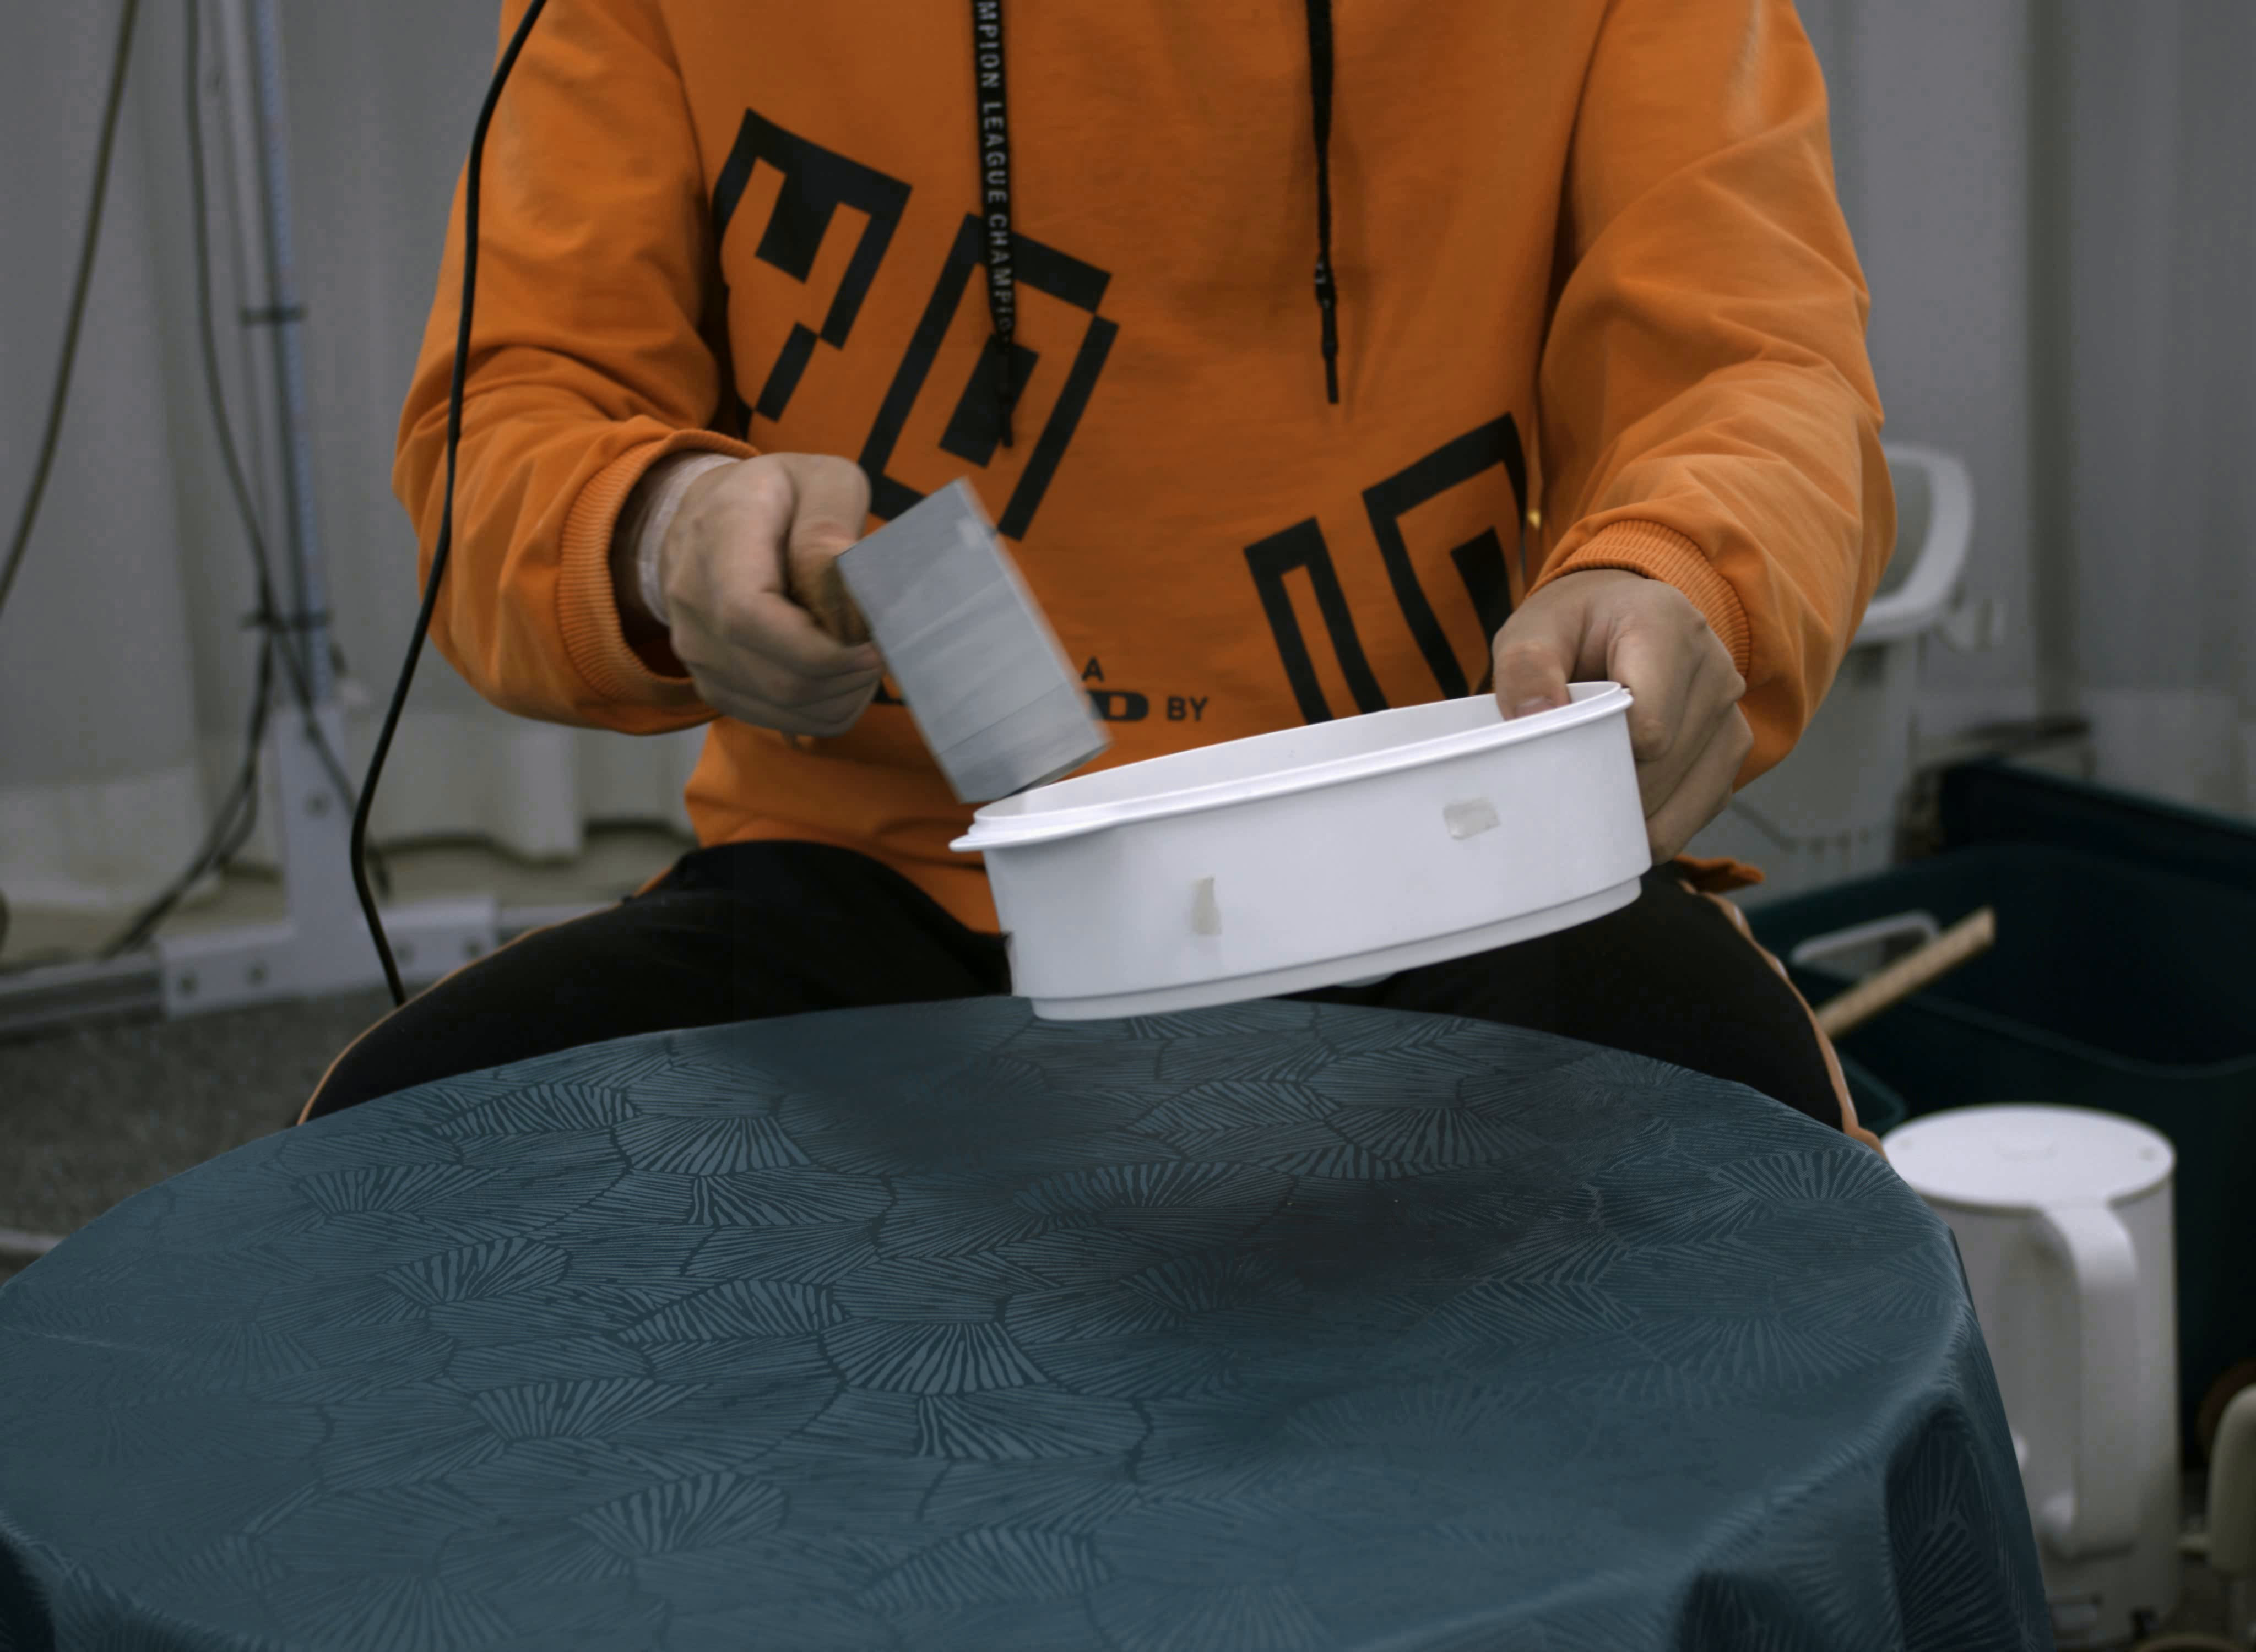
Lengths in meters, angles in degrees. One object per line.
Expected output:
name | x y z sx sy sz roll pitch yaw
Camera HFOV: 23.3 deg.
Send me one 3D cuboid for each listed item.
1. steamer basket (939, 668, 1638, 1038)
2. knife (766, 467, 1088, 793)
steamer basket | 0.052 0.009 1.621 0.230 0.069 0.202 -18 8 -35
knife | -0.062 -0.053 1.713 0.021 0.093 0.305 -32 3 -14
